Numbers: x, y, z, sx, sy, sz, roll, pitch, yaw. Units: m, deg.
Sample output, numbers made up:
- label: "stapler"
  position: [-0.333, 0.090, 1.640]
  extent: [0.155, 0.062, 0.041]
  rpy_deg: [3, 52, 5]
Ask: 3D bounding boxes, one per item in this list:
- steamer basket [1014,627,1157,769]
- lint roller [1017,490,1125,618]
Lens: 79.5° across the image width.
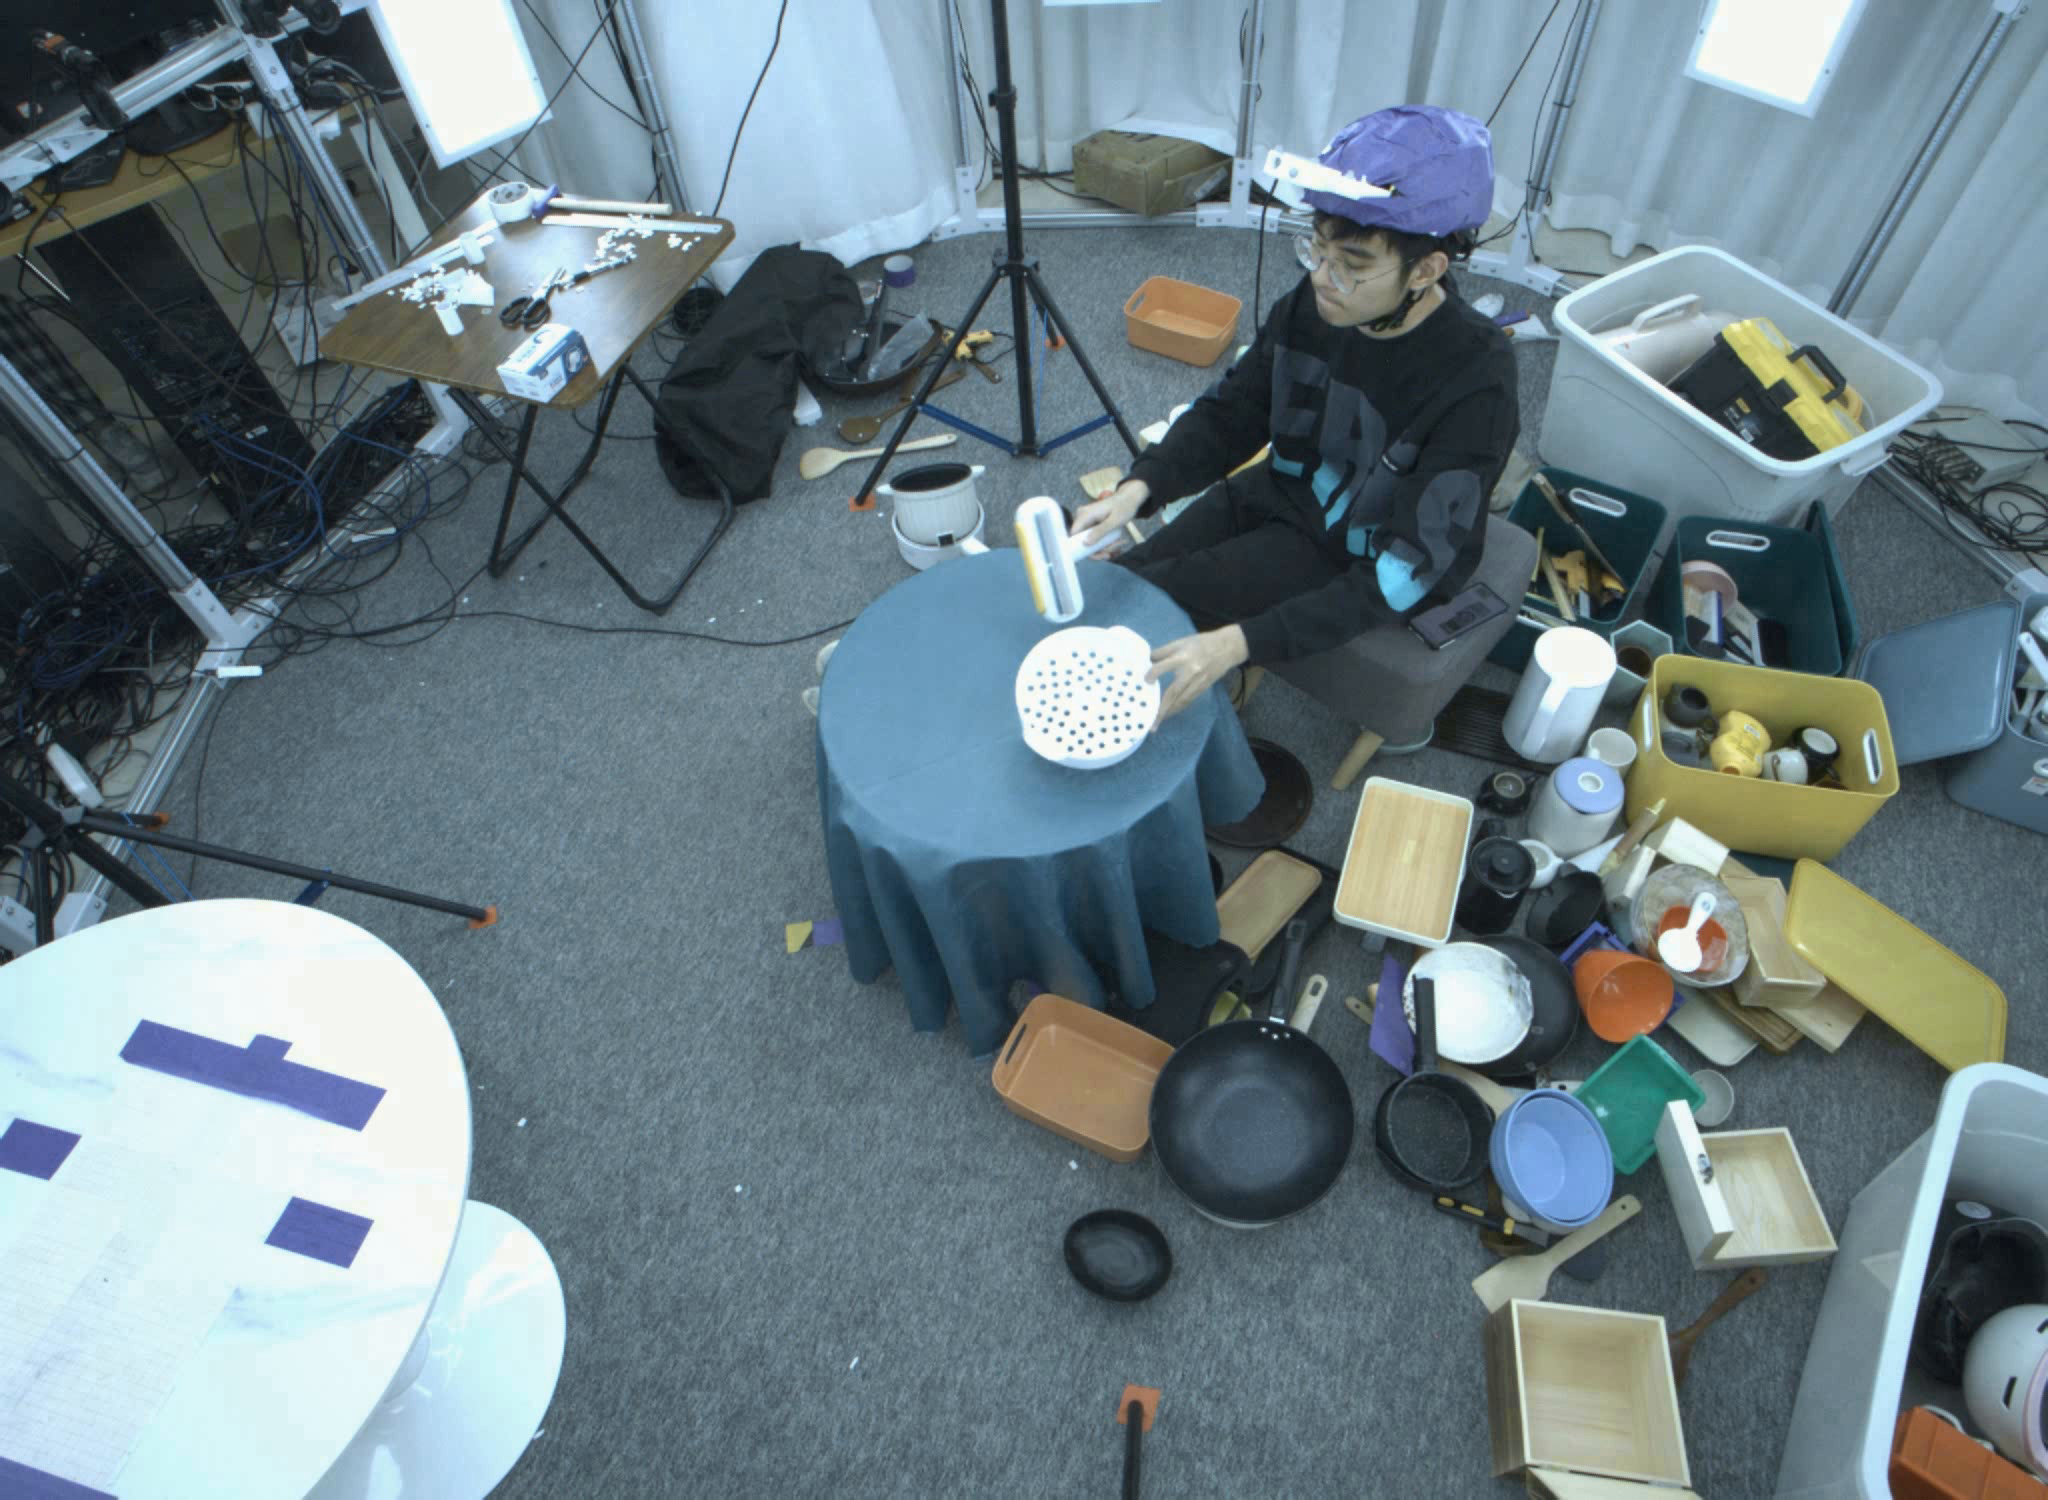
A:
- label: "steamer basket"
  position: [0.084, -0.070, 1.740]
  extent: [0.200, 0.069, 0.231]
  rpy_deg: [38, 71, 8]
- label: "lint roller"
  position: [0.084, -0.313, 1.864]
  extent: [0.195, 0.195, 0.072]
  rpy_deg: [-23, 23, -25]
